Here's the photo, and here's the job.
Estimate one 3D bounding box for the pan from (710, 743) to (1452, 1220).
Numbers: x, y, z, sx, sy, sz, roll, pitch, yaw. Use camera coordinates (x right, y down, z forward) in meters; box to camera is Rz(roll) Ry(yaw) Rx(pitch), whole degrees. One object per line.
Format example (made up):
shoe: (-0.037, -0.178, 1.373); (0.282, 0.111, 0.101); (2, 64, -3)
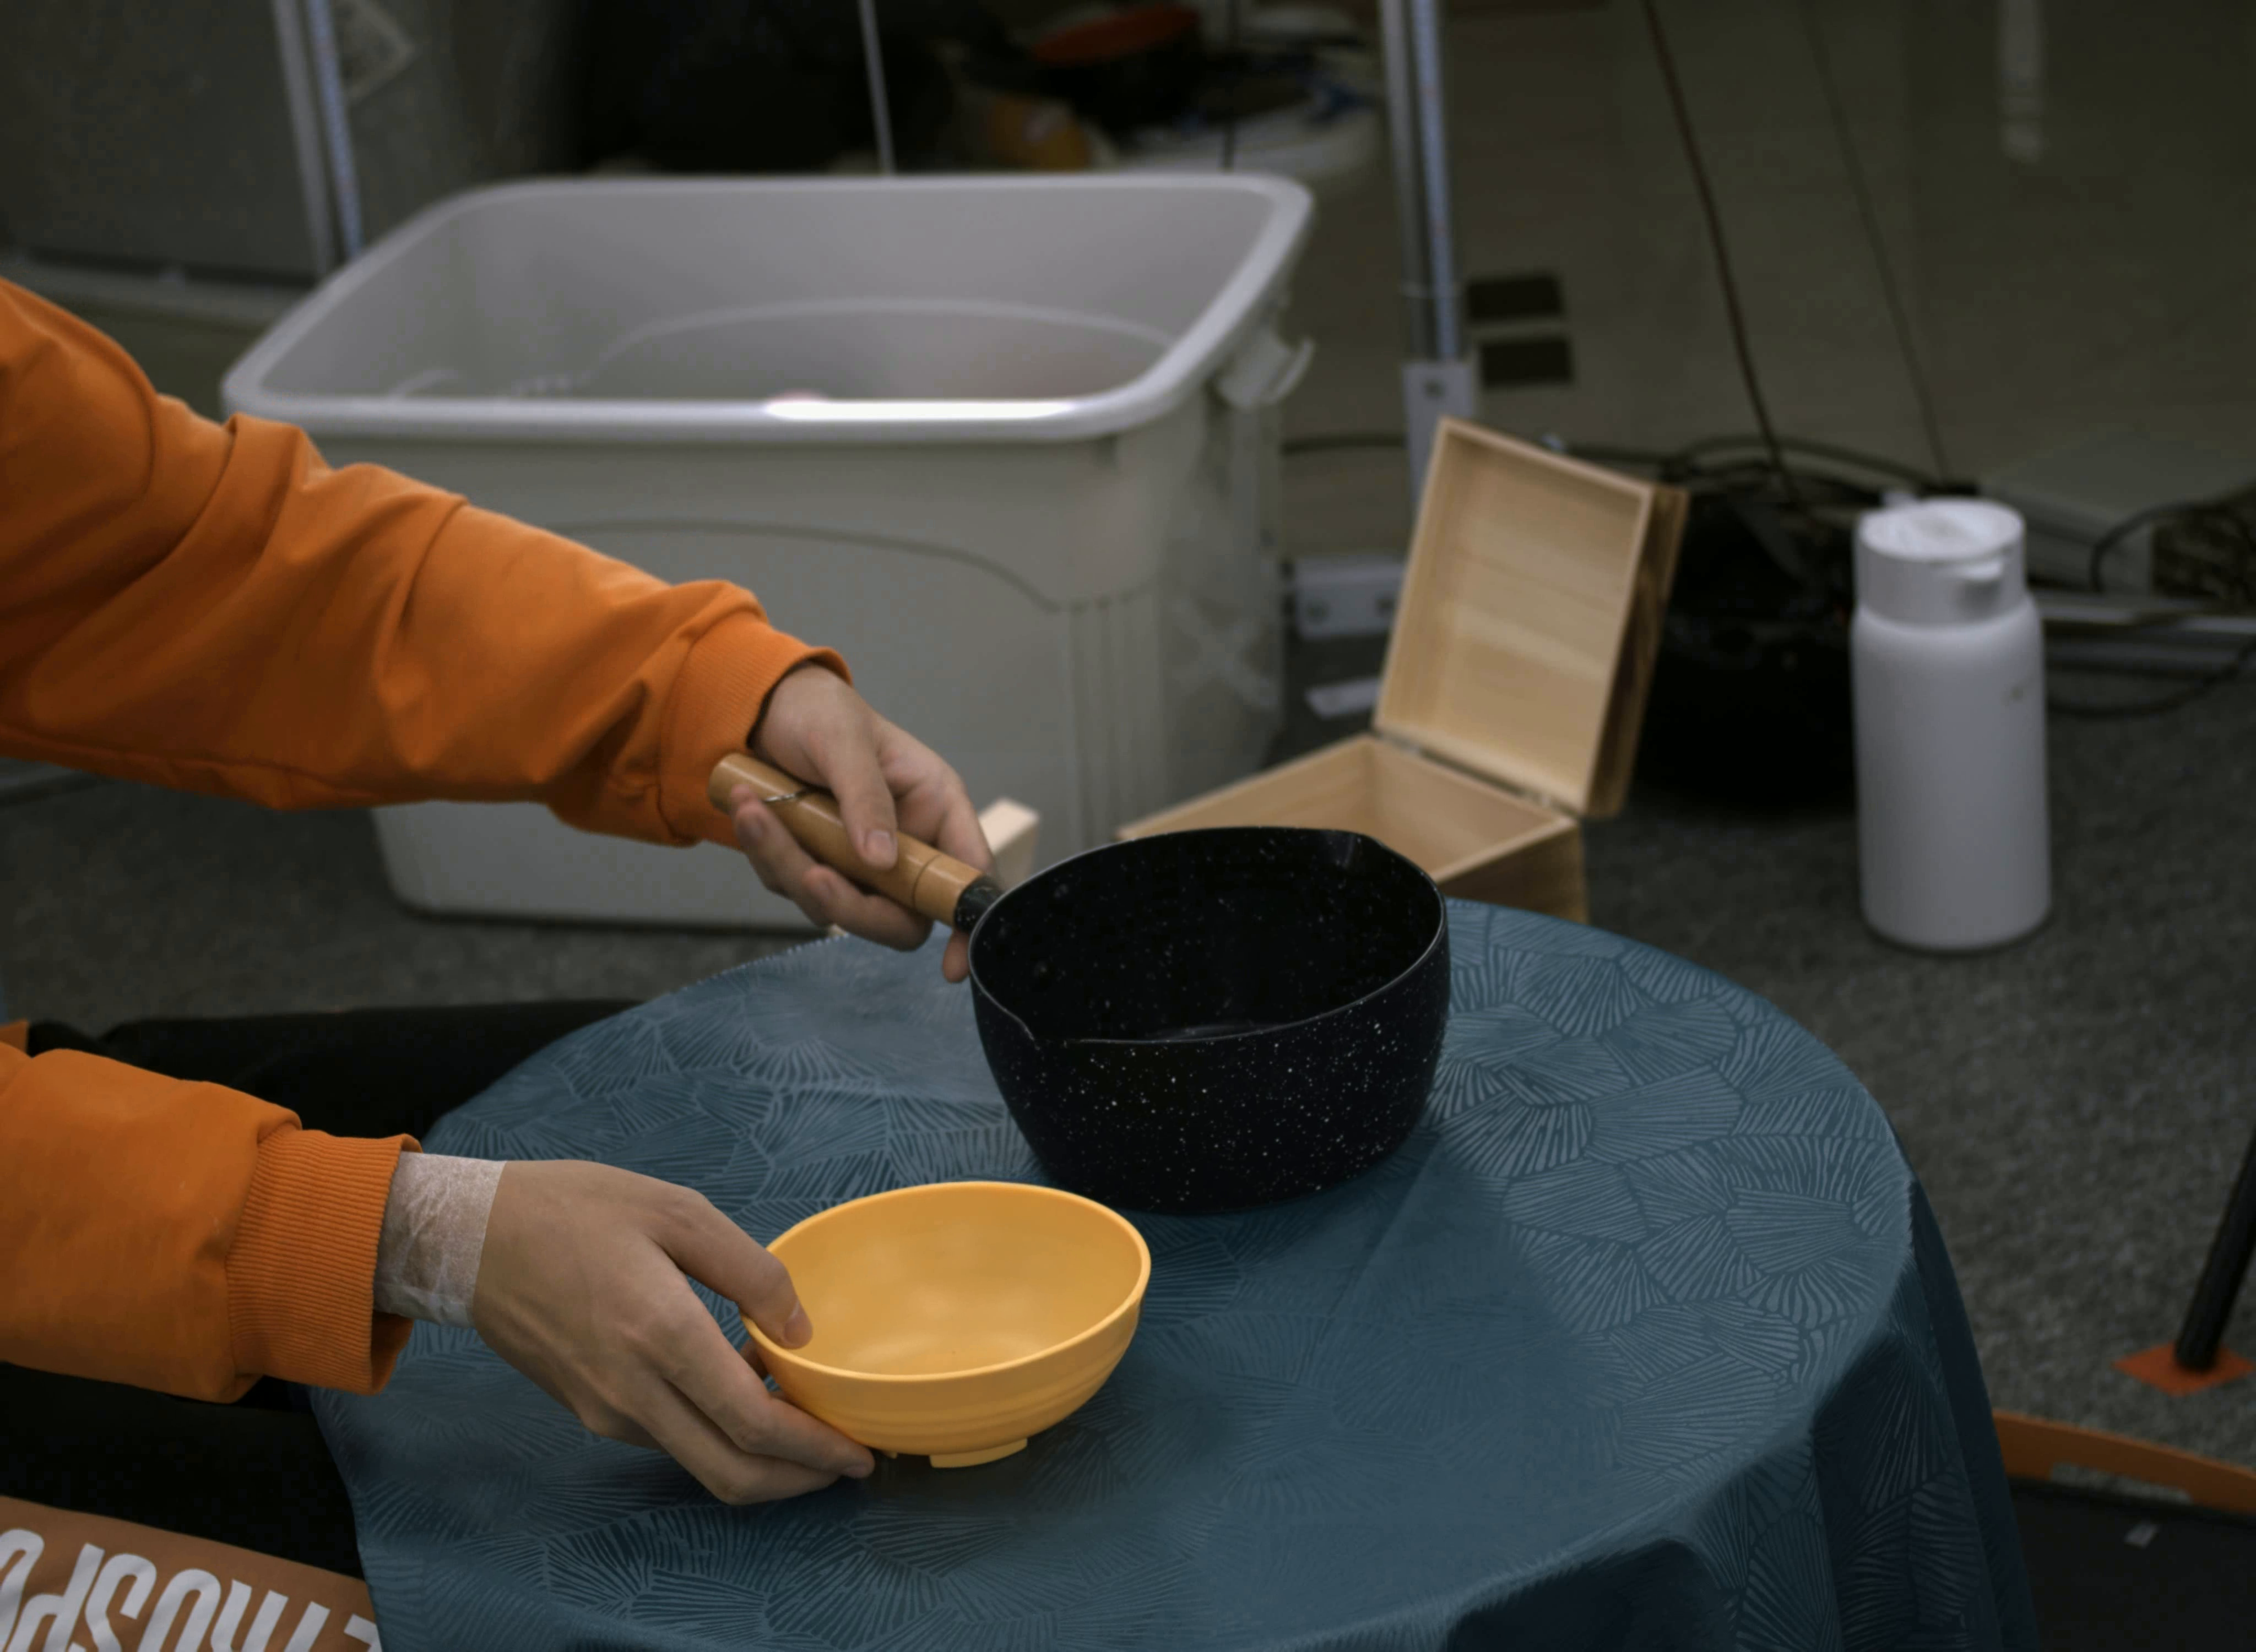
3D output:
pan: (-0.030, 0.052, 2.211); (0.340, 0.110, 0.205); (15, 34, 35)

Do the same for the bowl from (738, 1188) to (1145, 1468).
bowl: (-0.063, 0.184, 1.994); (0.145, 0.061, 0.143); (-4, 23, 2)
